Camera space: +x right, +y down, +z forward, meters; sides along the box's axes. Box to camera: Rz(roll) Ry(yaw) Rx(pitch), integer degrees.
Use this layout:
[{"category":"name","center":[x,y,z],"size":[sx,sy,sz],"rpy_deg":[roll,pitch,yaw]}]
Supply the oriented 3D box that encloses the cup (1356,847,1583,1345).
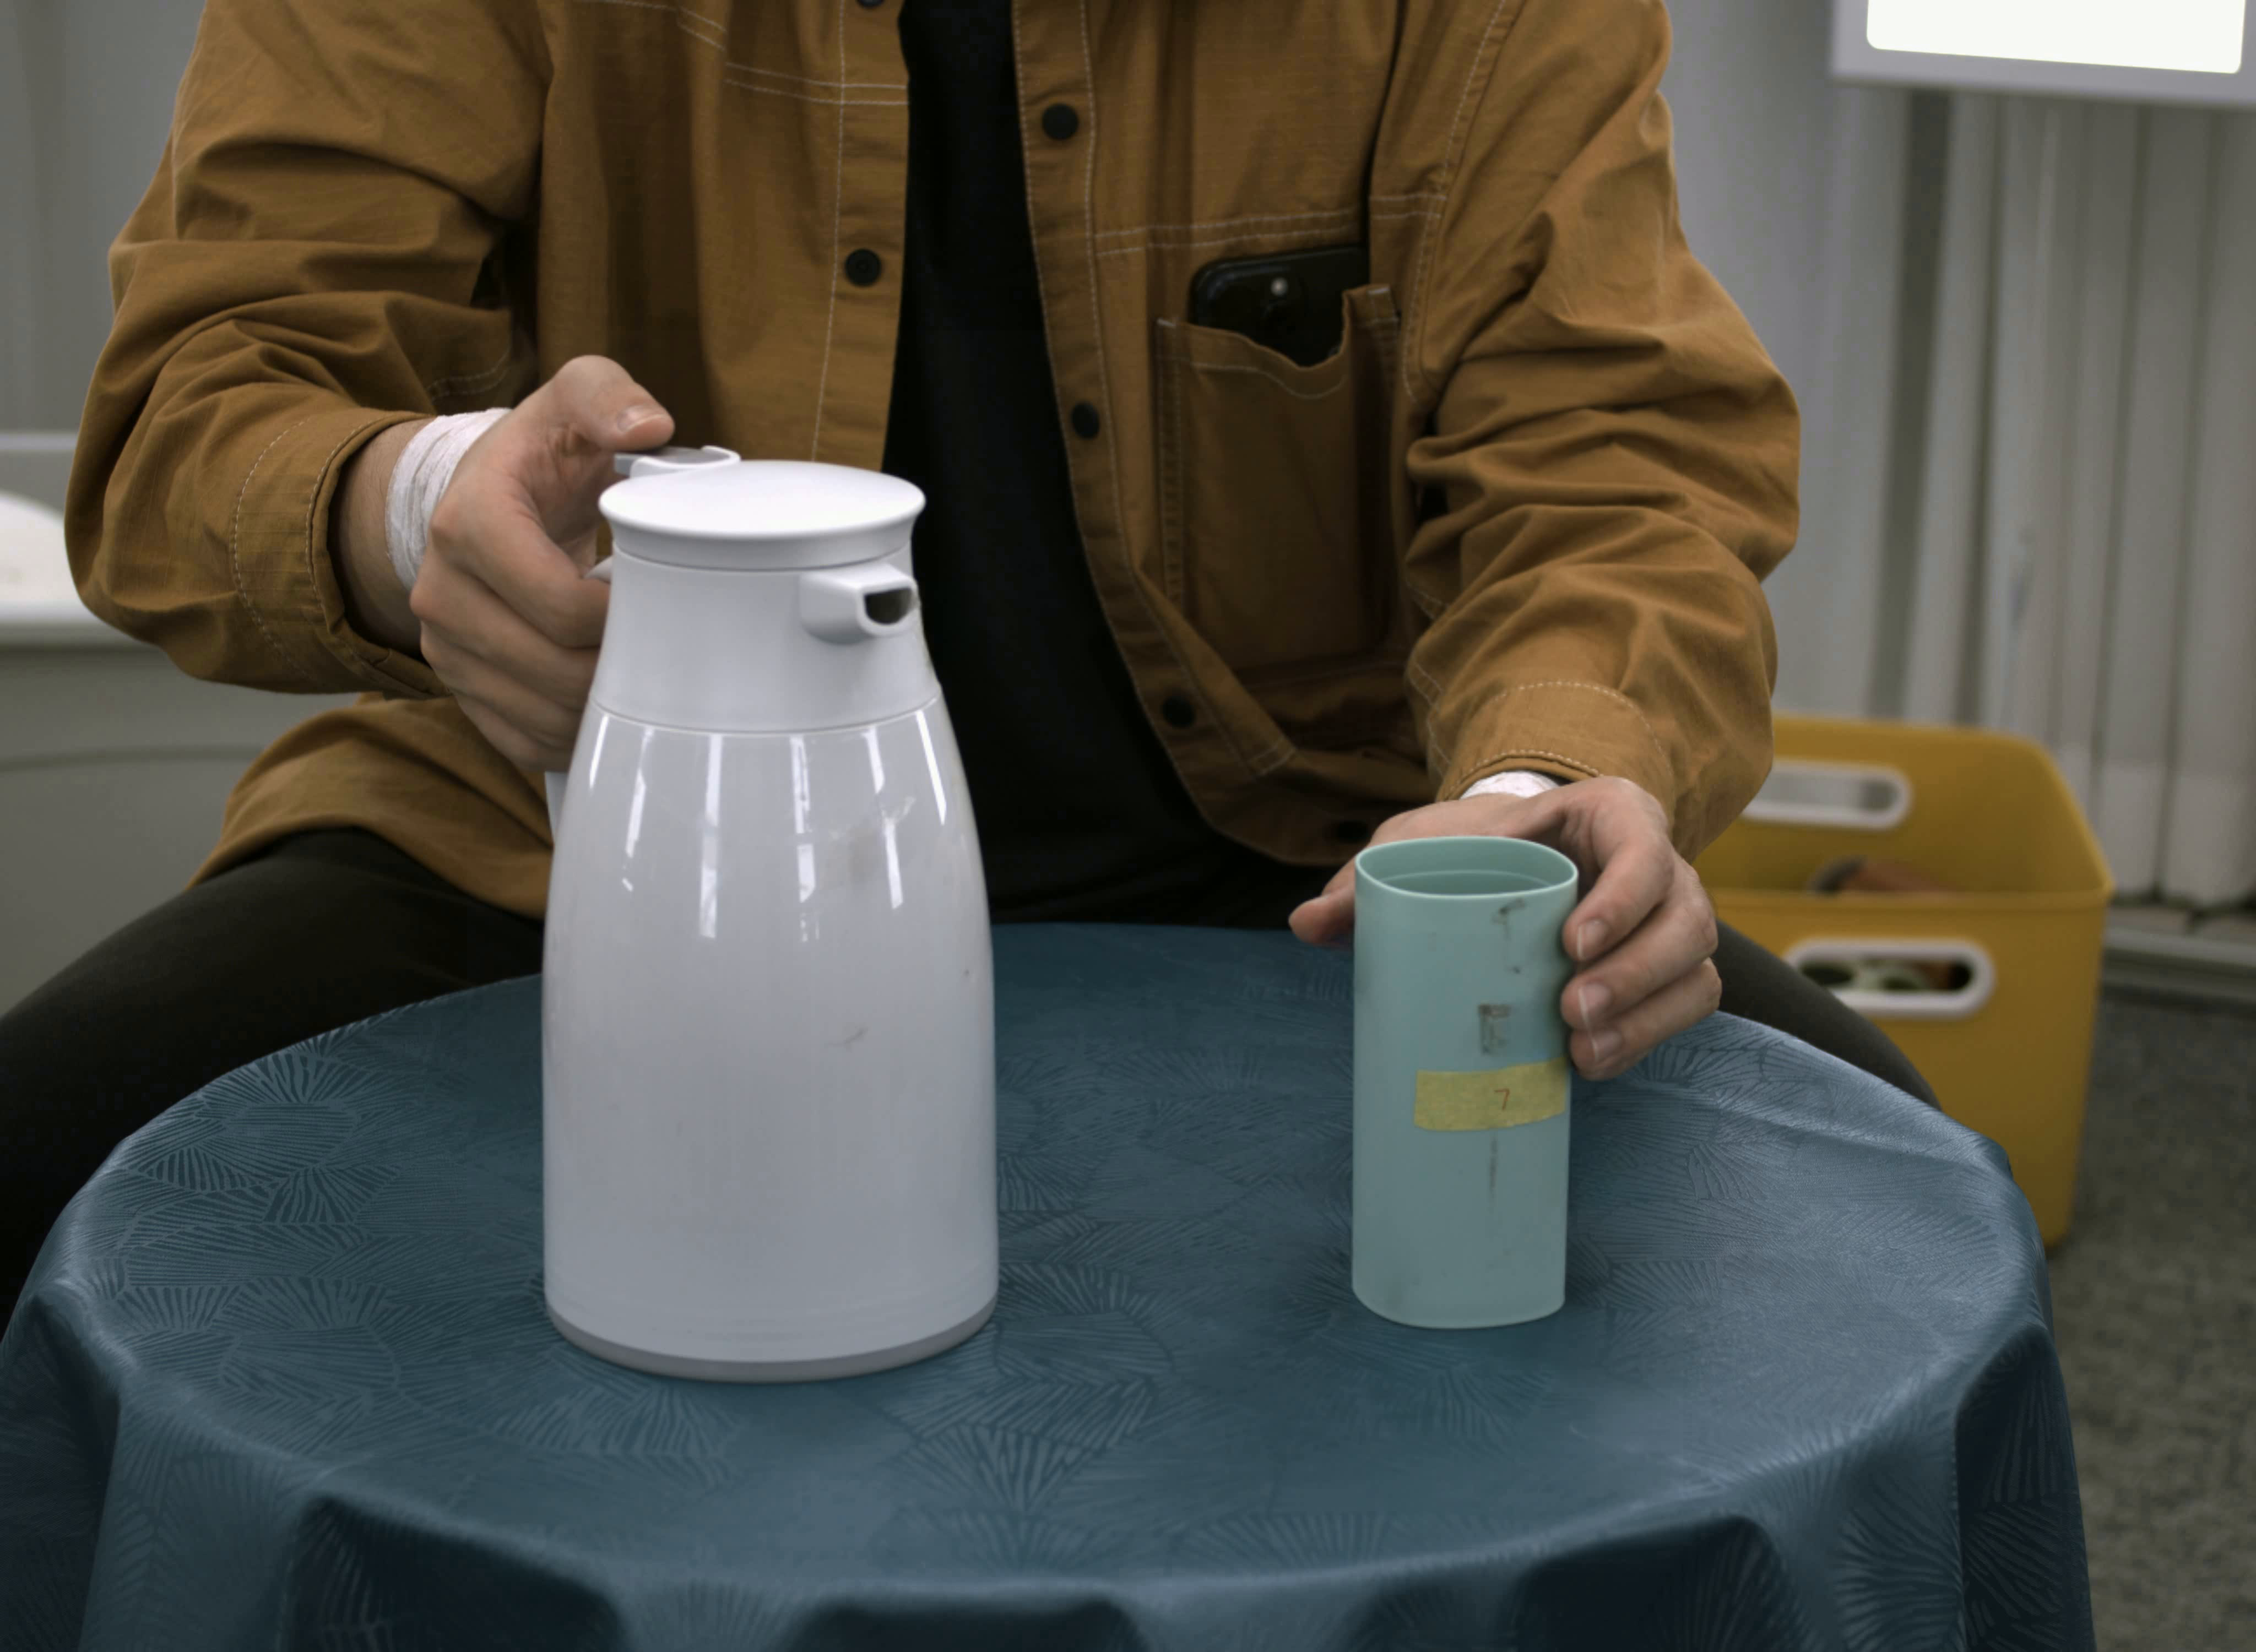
[{"category":"cup","center":[0.097,0.077,1.522],"size":[0.066,0.133,0.066],"rpy_deg":[1,17,0]}]

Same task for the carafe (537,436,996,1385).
[{"category":"carafe","center":[-0.116,0.015,1.504],"size":[0.133,0.250,0.165],"rpy_deg":[-13,20,-37]}]
